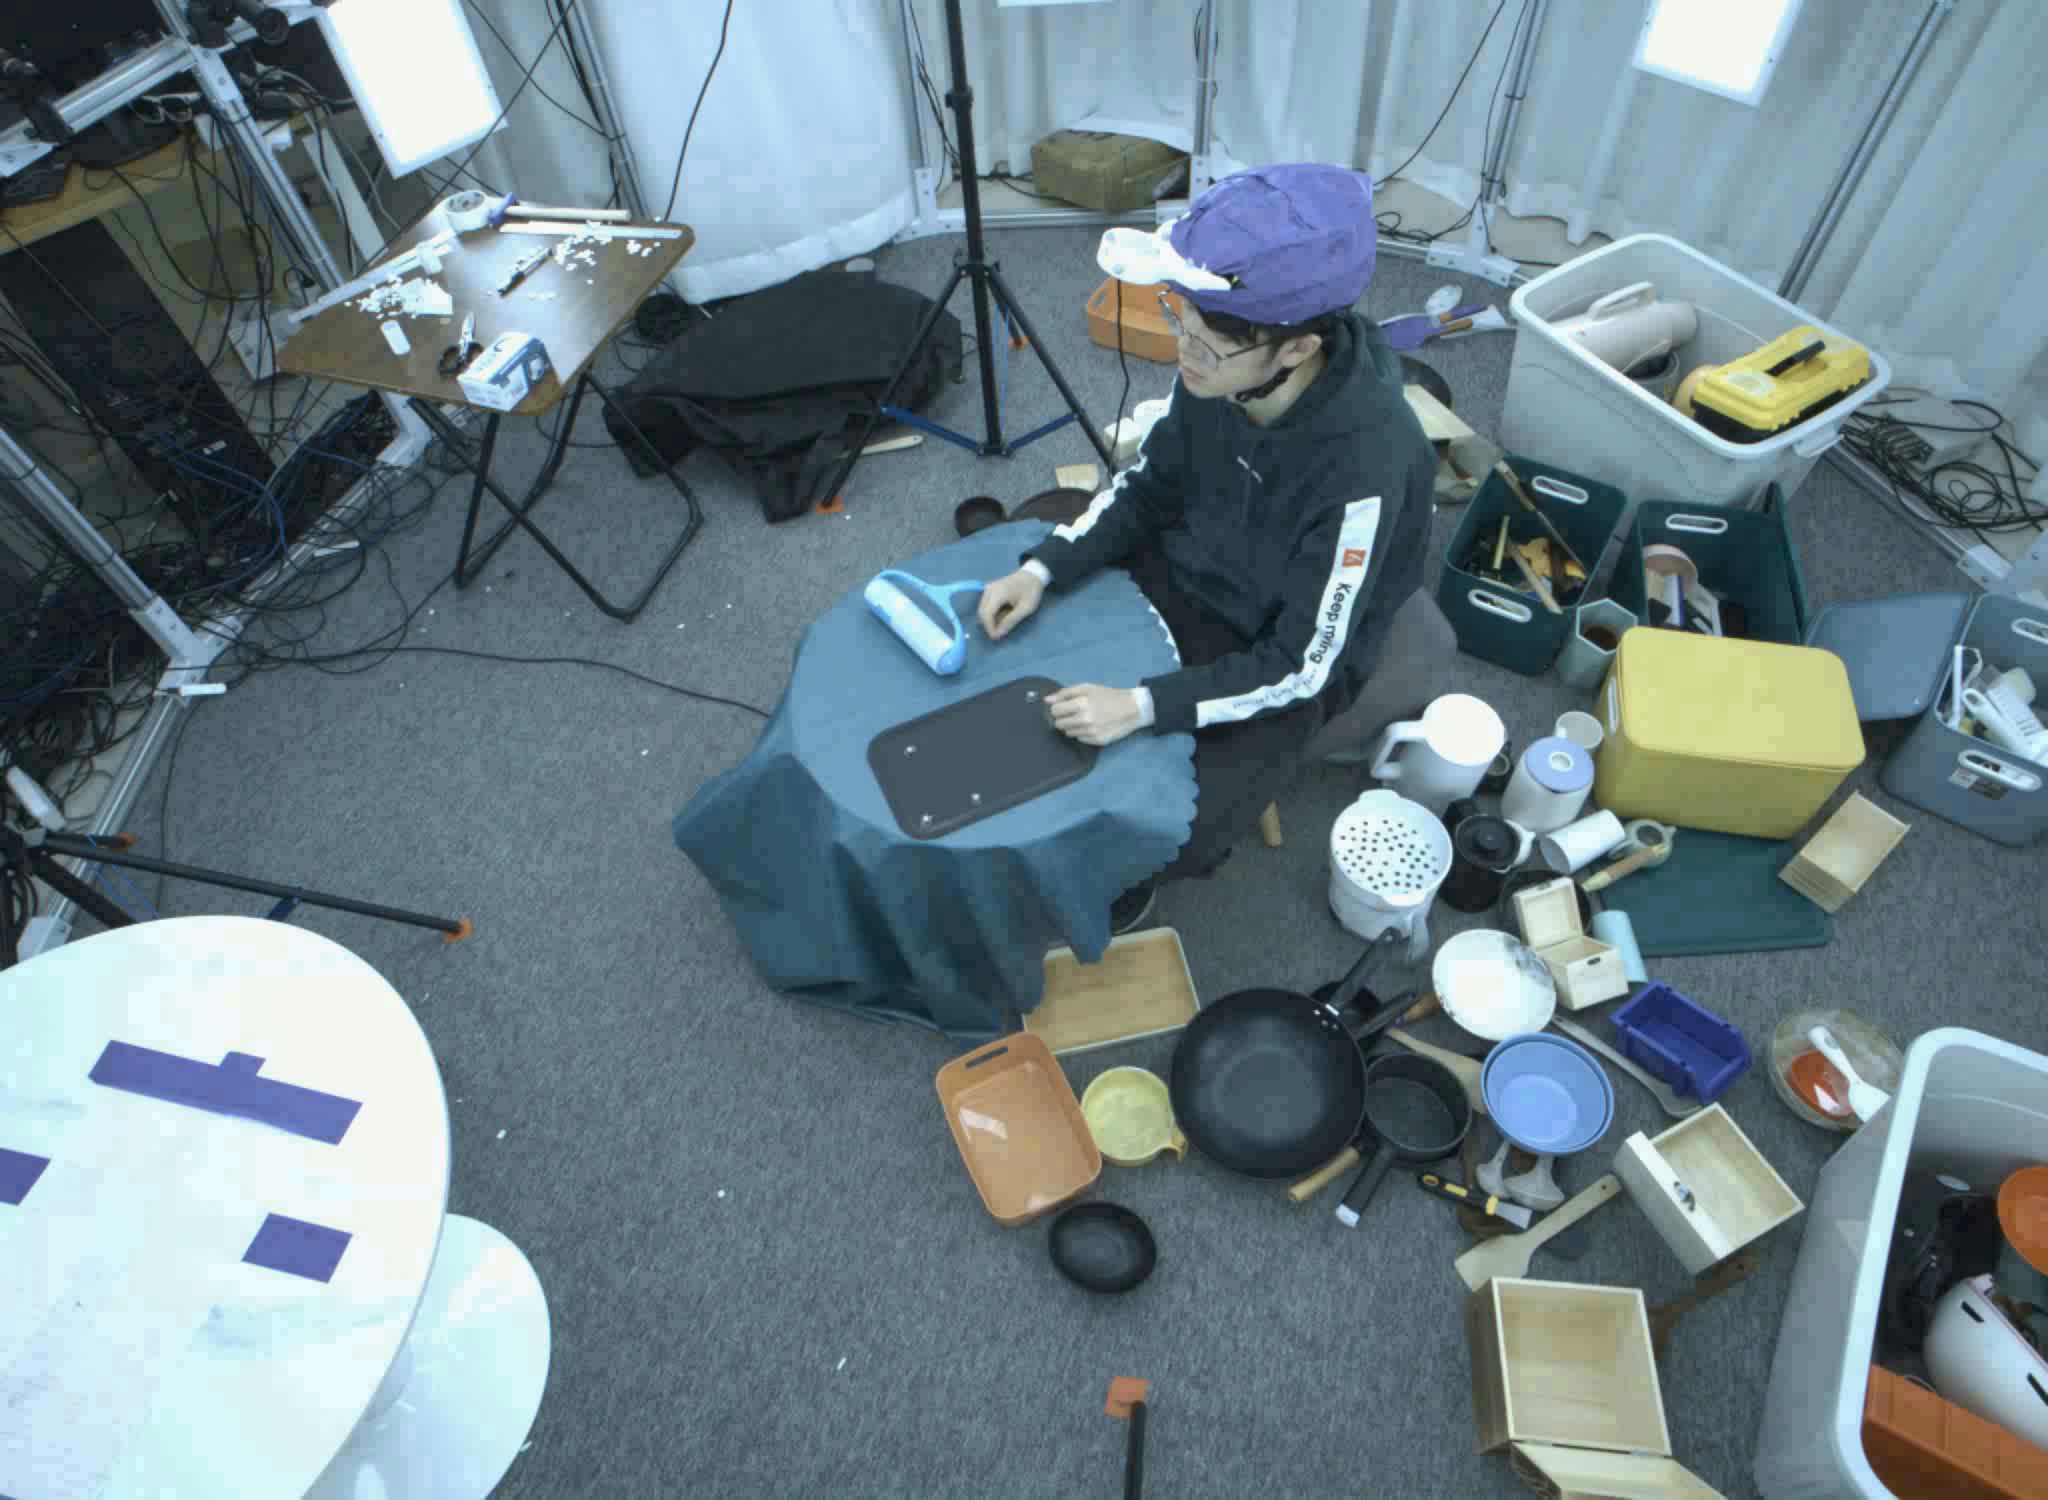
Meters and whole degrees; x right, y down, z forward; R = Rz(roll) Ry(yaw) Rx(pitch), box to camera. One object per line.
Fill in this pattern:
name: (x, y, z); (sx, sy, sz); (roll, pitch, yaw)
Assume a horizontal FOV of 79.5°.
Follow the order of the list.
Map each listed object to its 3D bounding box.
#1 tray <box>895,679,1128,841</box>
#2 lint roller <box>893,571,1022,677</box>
tray: (-0.014, 0.005, 1.776); (0.328, 0.010, 0.207); (-20, 56, -12)
lint roller: (-0.082, -0.223, 1.909); (0.181, 0.069, 0.224); (-36, 59, -20)
